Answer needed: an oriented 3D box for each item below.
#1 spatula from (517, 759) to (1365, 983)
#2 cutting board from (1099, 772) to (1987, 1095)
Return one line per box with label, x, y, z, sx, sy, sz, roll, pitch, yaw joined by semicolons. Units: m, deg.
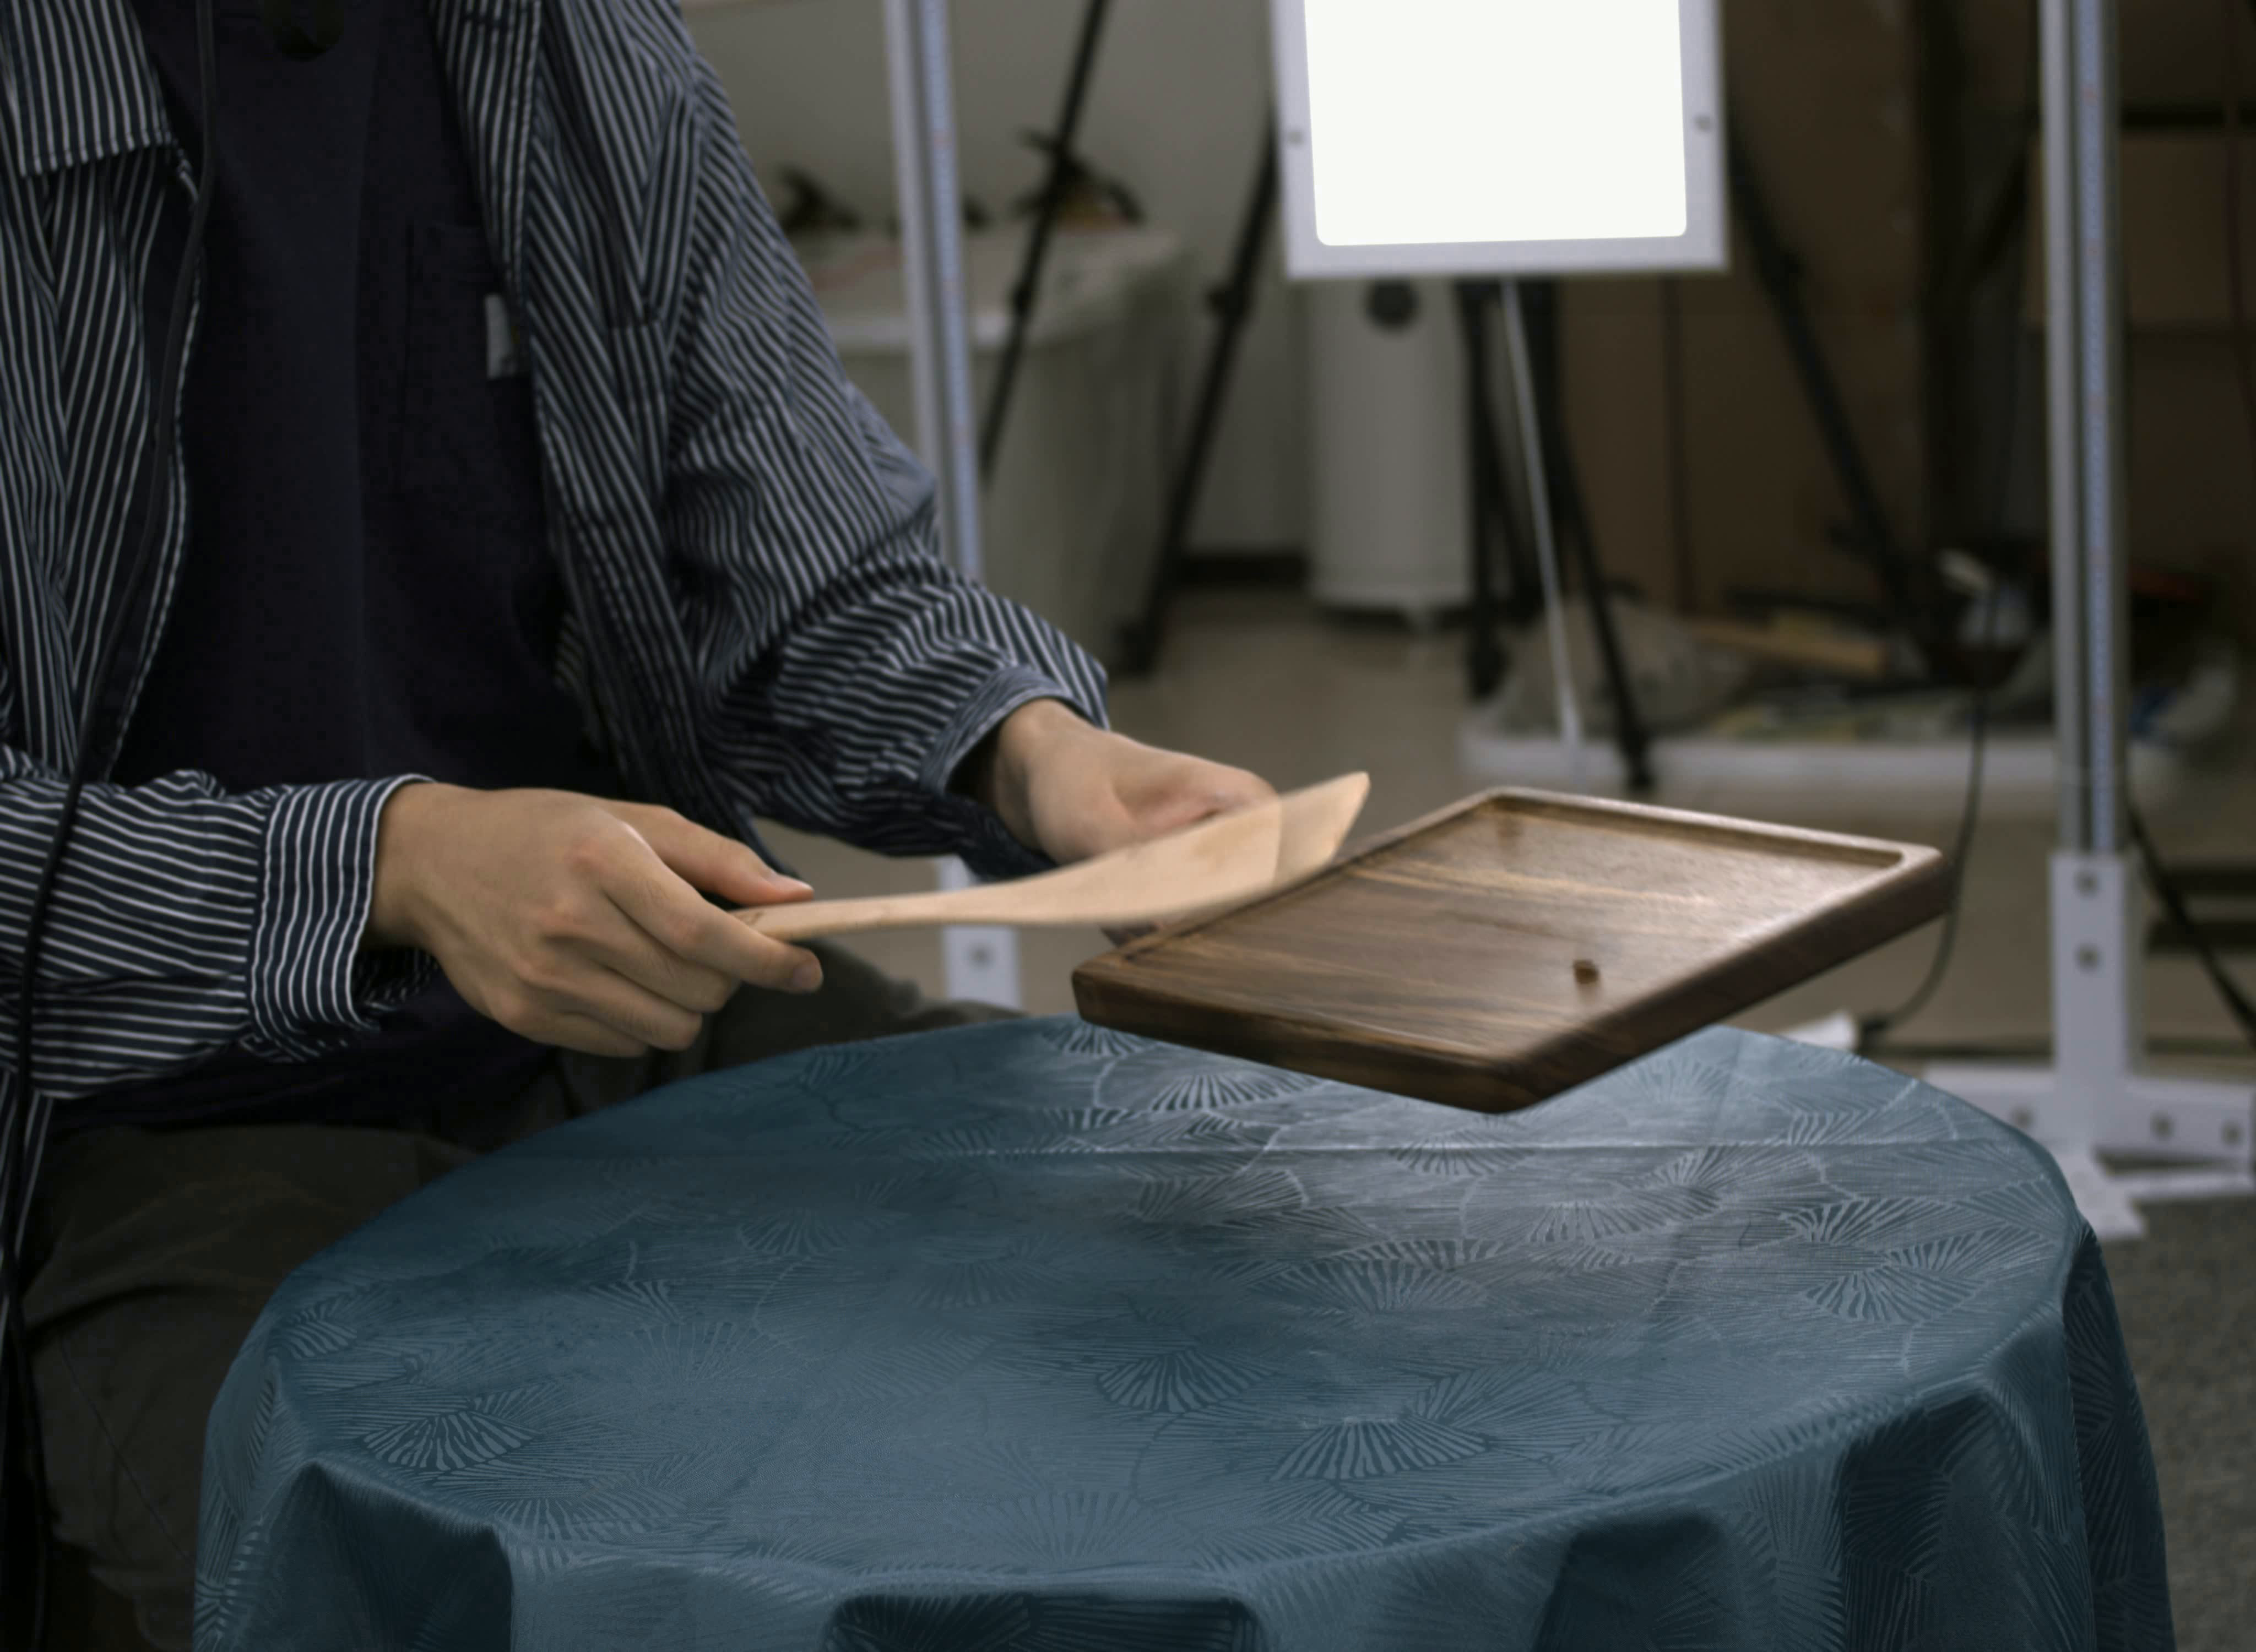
spatula;-0.066;0.020;1.822;0.334;0.016;0.078;-9;21;29
cutting board;0.109;0.027;1.869;0.197;0.023;0.359;-23;17;-28
